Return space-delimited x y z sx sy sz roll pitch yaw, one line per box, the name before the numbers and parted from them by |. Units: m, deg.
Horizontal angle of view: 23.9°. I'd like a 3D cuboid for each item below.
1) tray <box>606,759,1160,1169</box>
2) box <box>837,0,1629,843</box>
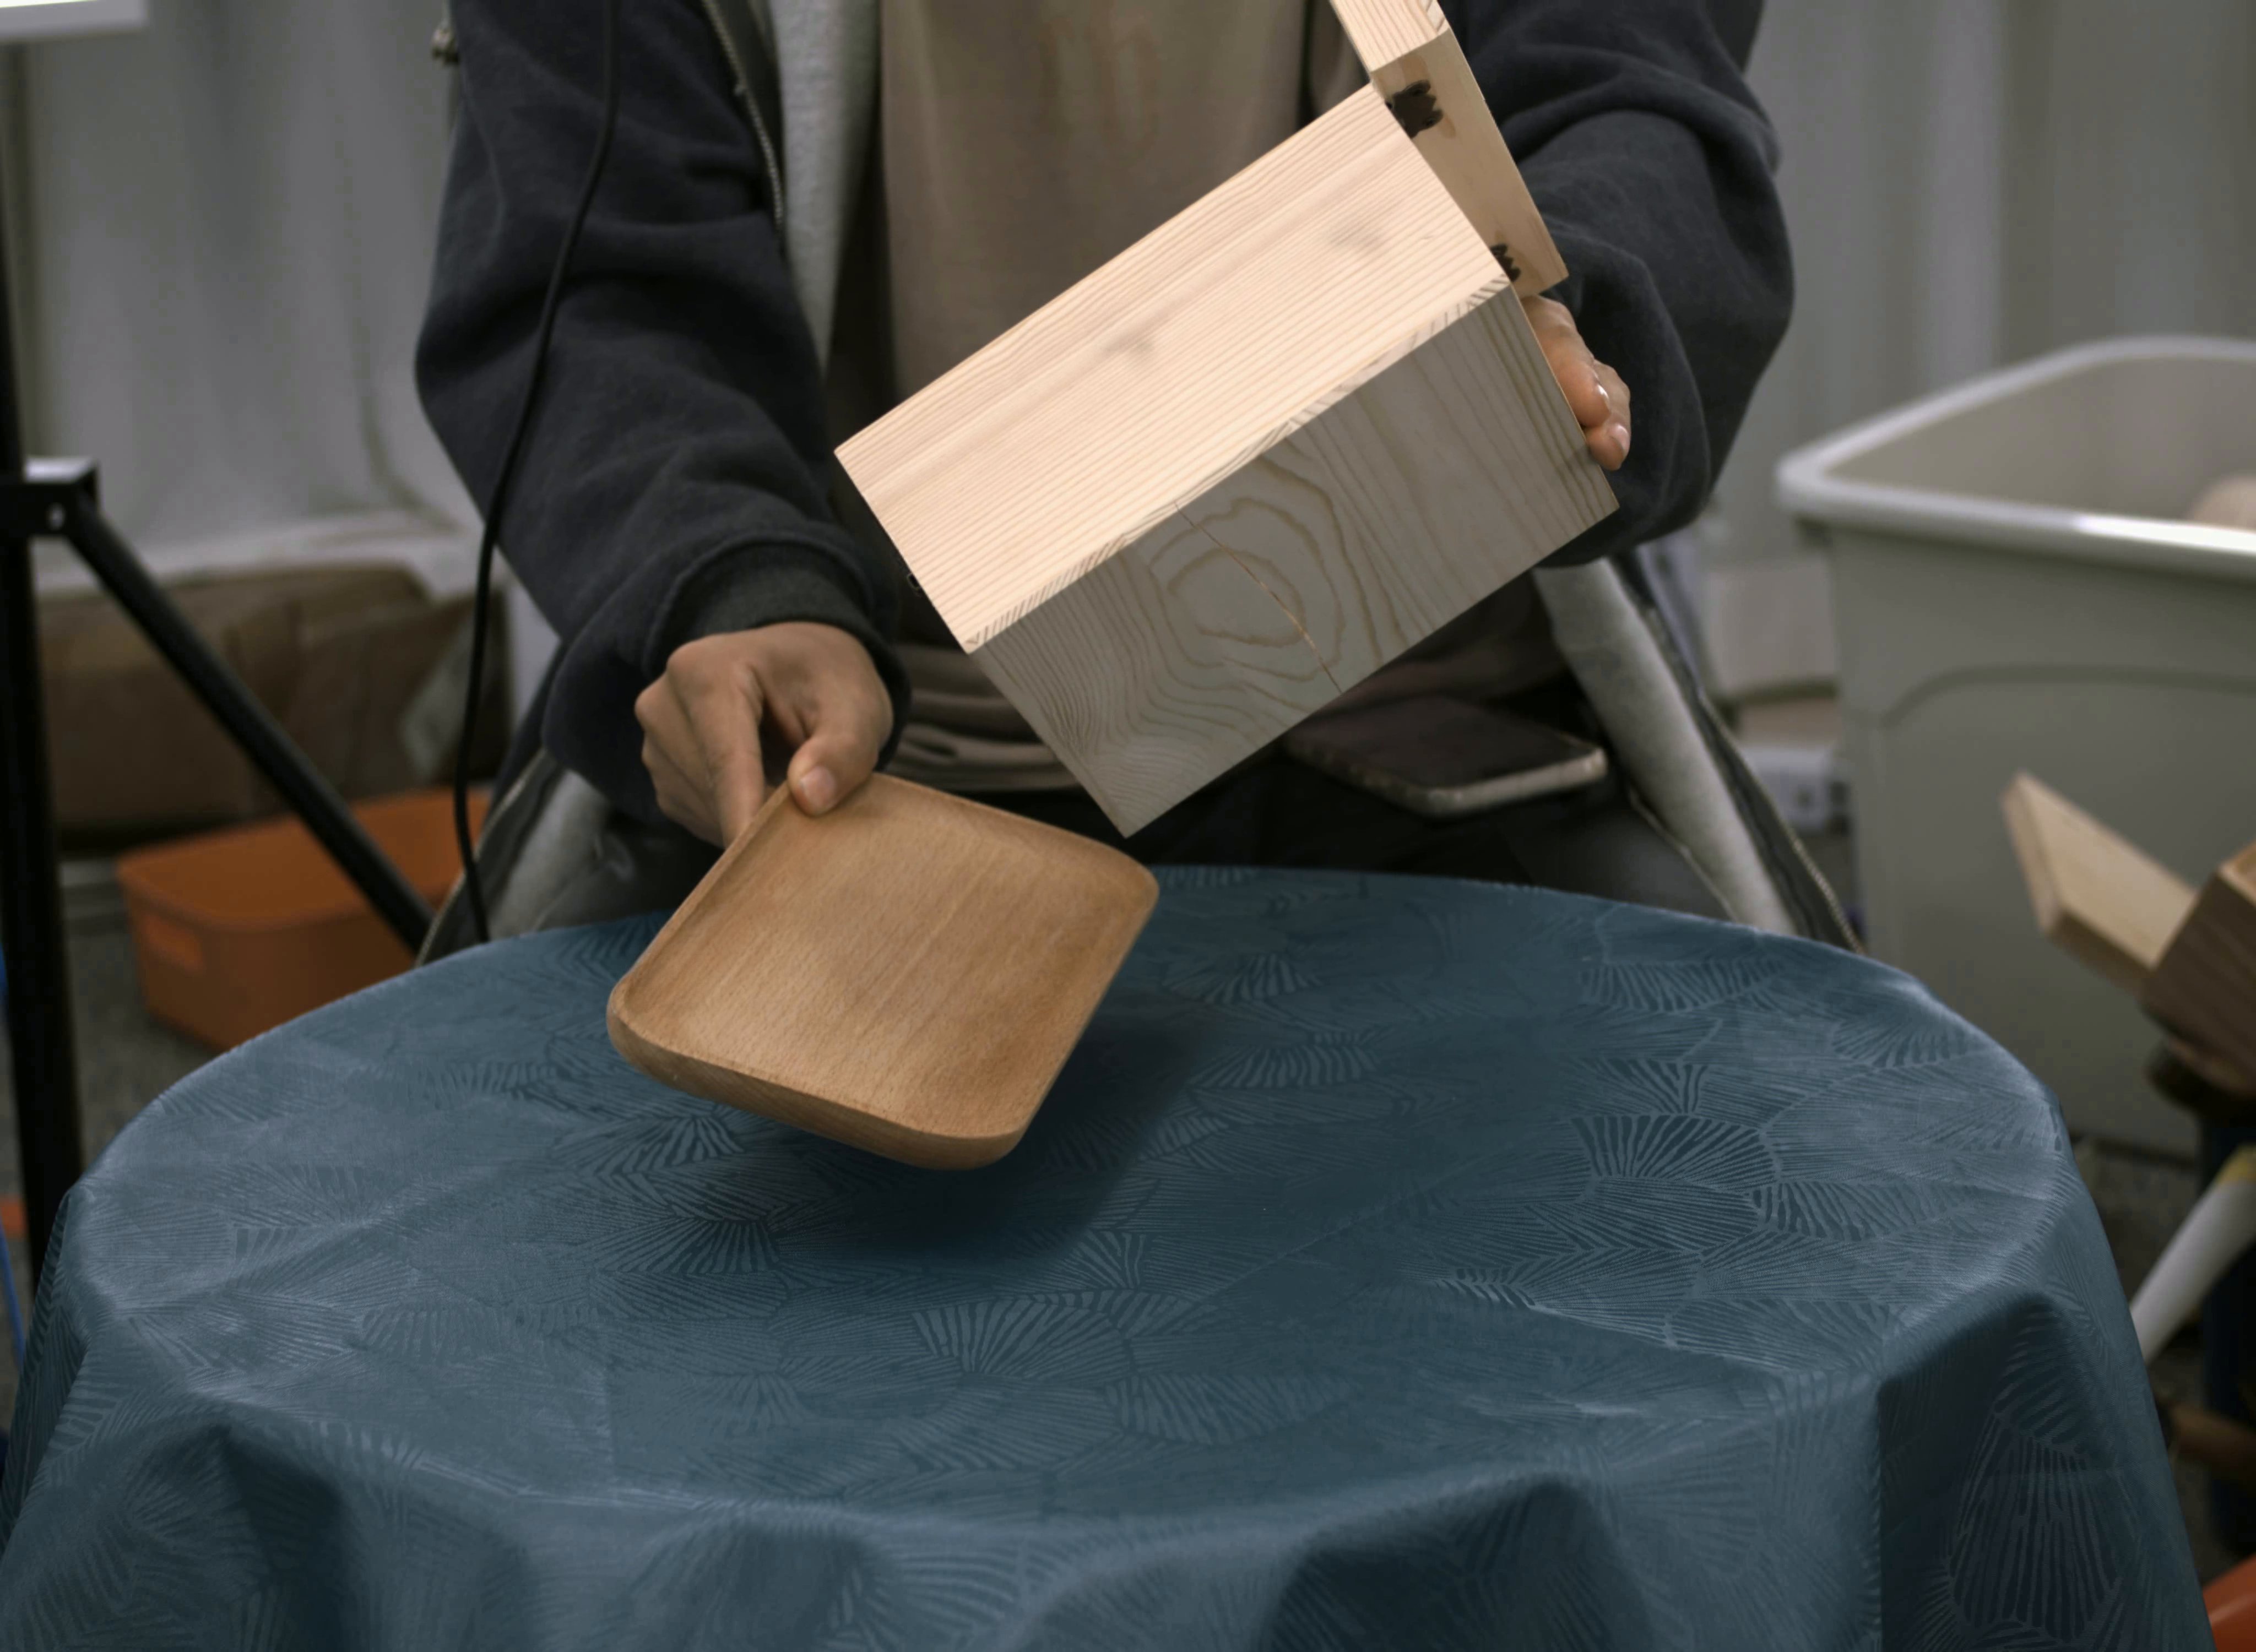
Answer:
tray | -0.071 0.039 1.622 0.131 0.023 0.249 20 21 6
box | 0.021 -0.186 1.568 0.265 0.257 0.178 -33 -26 3
